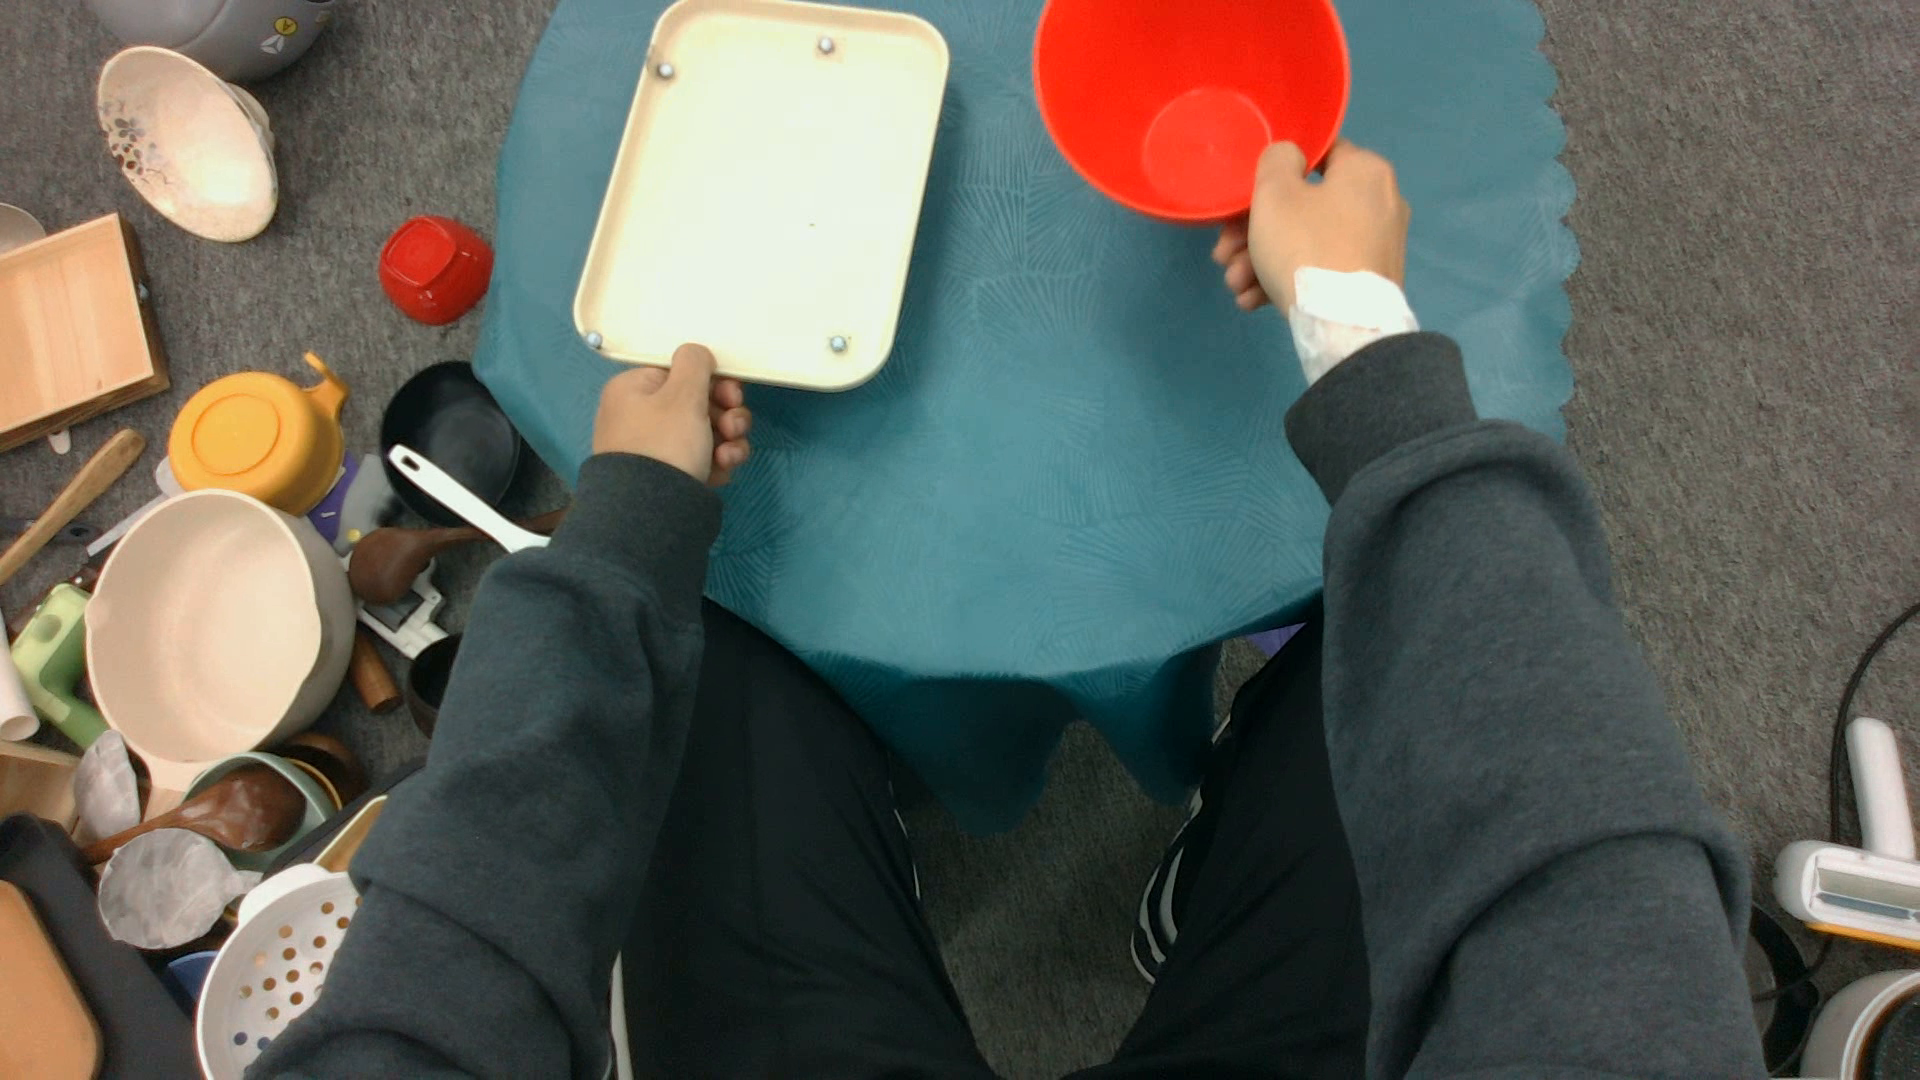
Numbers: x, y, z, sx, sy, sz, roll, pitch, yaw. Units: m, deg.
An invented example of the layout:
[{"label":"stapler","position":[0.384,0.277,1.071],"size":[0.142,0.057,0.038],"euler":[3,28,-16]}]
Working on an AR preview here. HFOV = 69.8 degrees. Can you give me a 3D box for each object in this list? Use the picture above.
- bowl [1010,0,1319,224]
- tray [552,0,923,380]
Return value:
[{"label":"bowl","position":[0.104,-0.219,0.702],"size":[0.148,0.104,0.148],"euler":[-1,79,8]},{"label":"tray","position":[-0.117,-0.199,0.756],"size":[0.171,0.017,0.240],"euler":[8,69,2]}]
